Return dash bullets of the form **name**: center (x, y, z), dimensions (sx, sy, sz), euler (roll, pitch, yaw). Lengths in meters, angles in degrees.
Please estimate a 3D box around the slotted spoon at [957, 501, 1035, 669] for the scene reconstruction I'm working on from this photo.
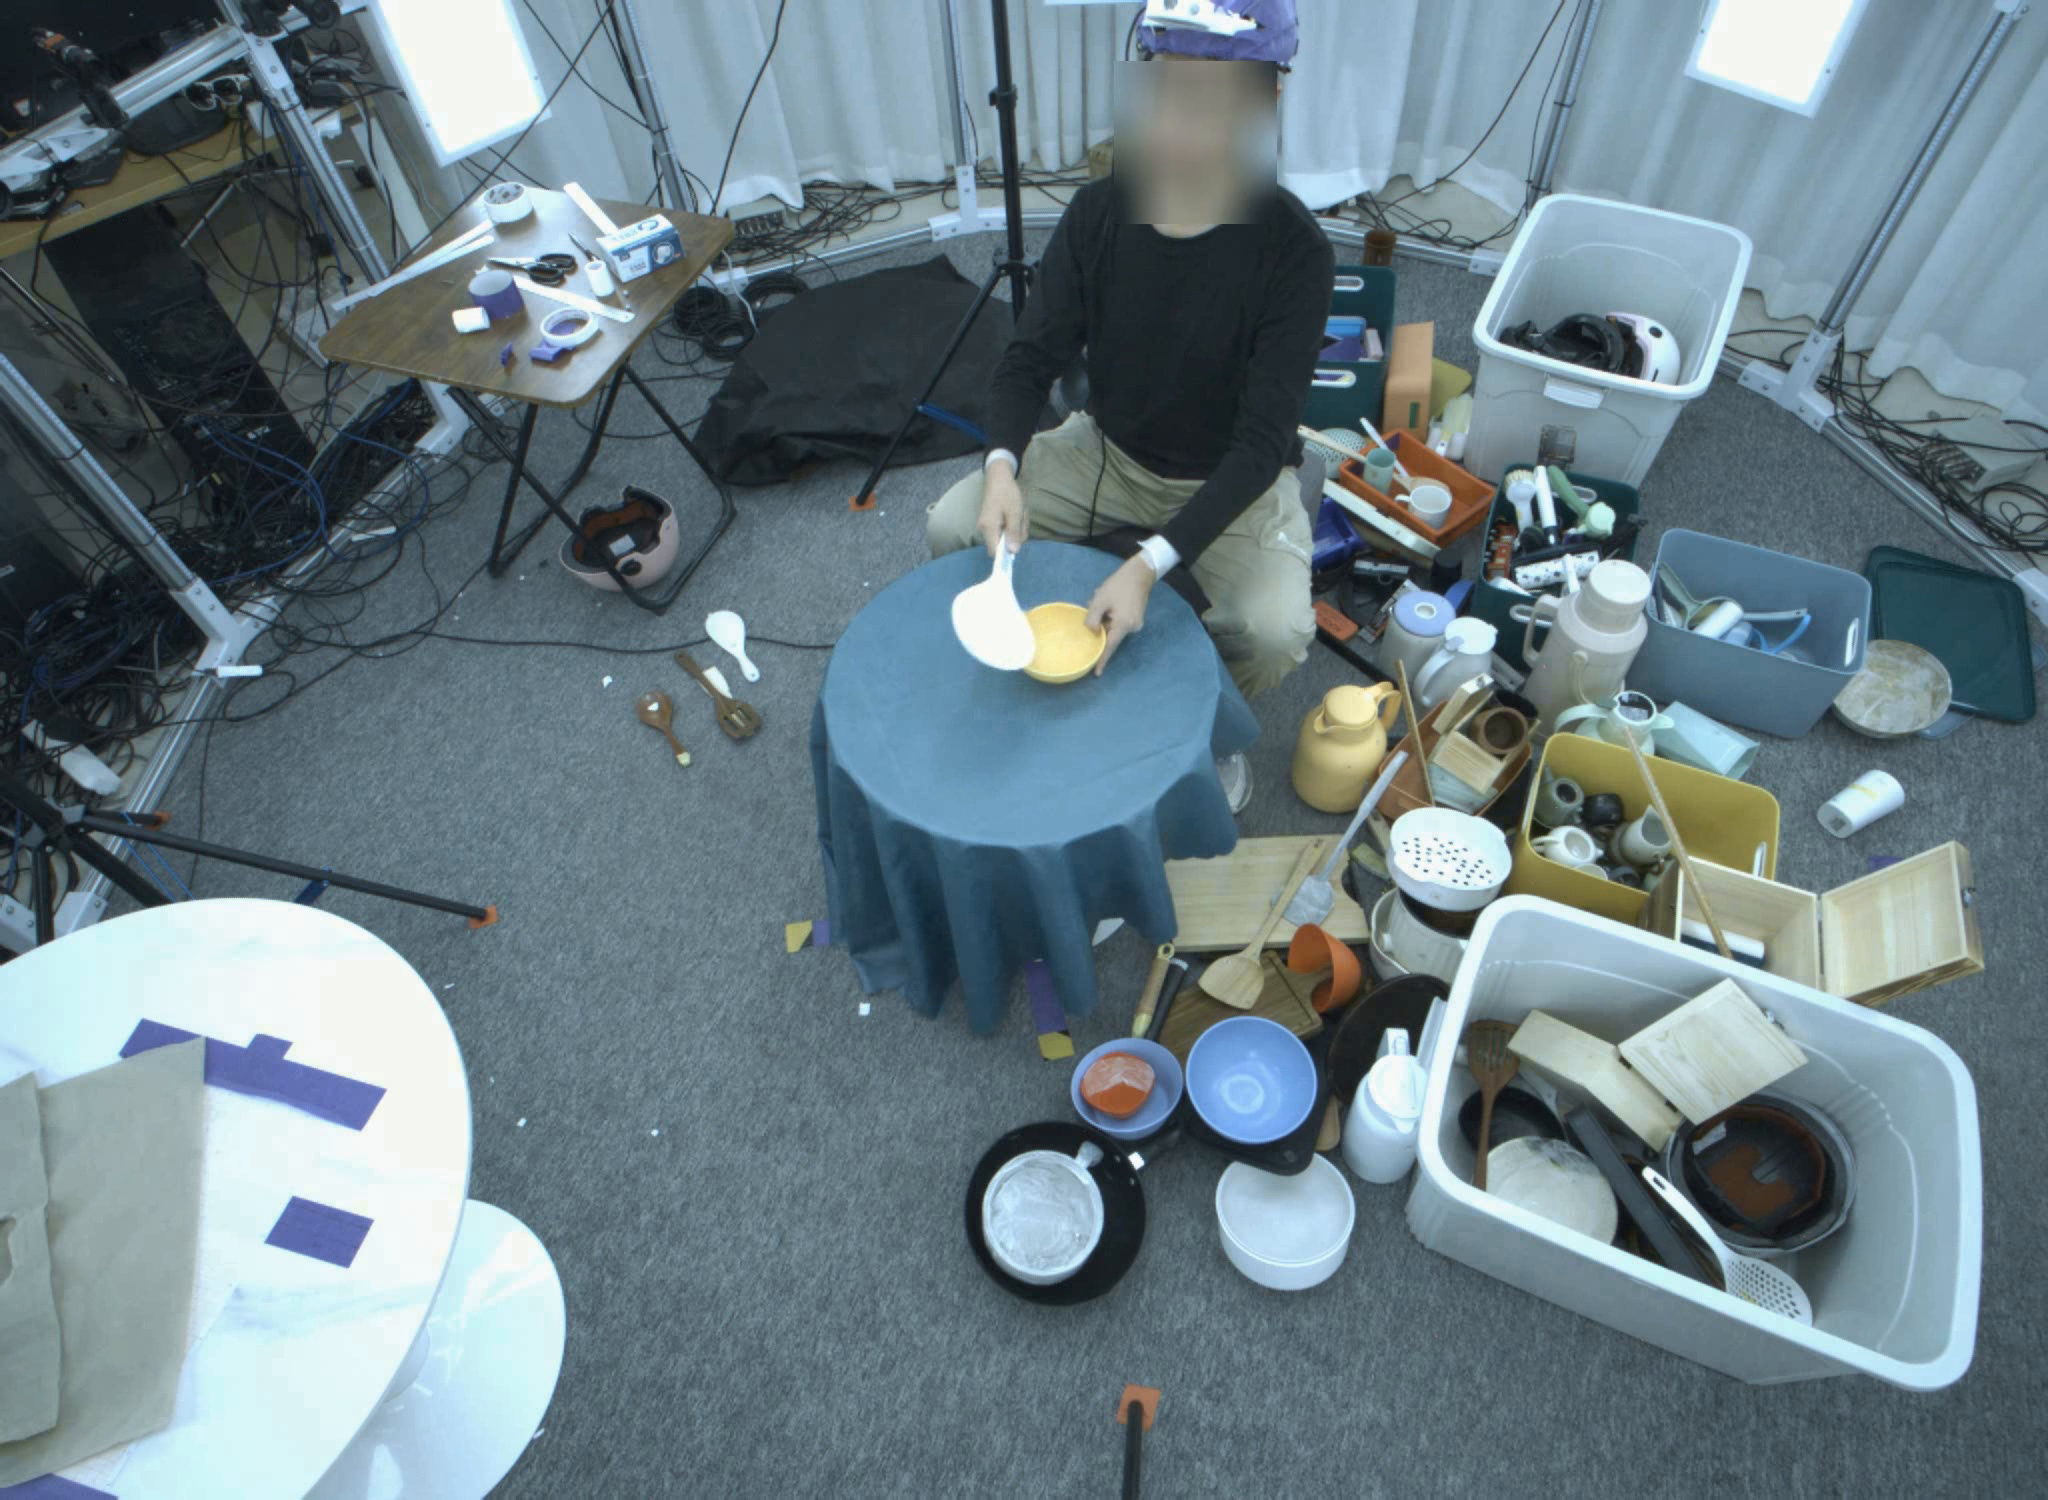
- **slotted spoon**: center (-0.034, -0.251, 1.807), dimensions (0.139, 0.045, 0.347), euler (30, 50, -26)

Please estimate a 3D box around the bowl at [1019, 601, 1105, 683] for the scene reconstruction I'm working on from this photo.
- **bowl**: center (0.051, -0.152, 1.859), dimensions (0.145, 0.061, 0.144), euler (0, 57, 2)
